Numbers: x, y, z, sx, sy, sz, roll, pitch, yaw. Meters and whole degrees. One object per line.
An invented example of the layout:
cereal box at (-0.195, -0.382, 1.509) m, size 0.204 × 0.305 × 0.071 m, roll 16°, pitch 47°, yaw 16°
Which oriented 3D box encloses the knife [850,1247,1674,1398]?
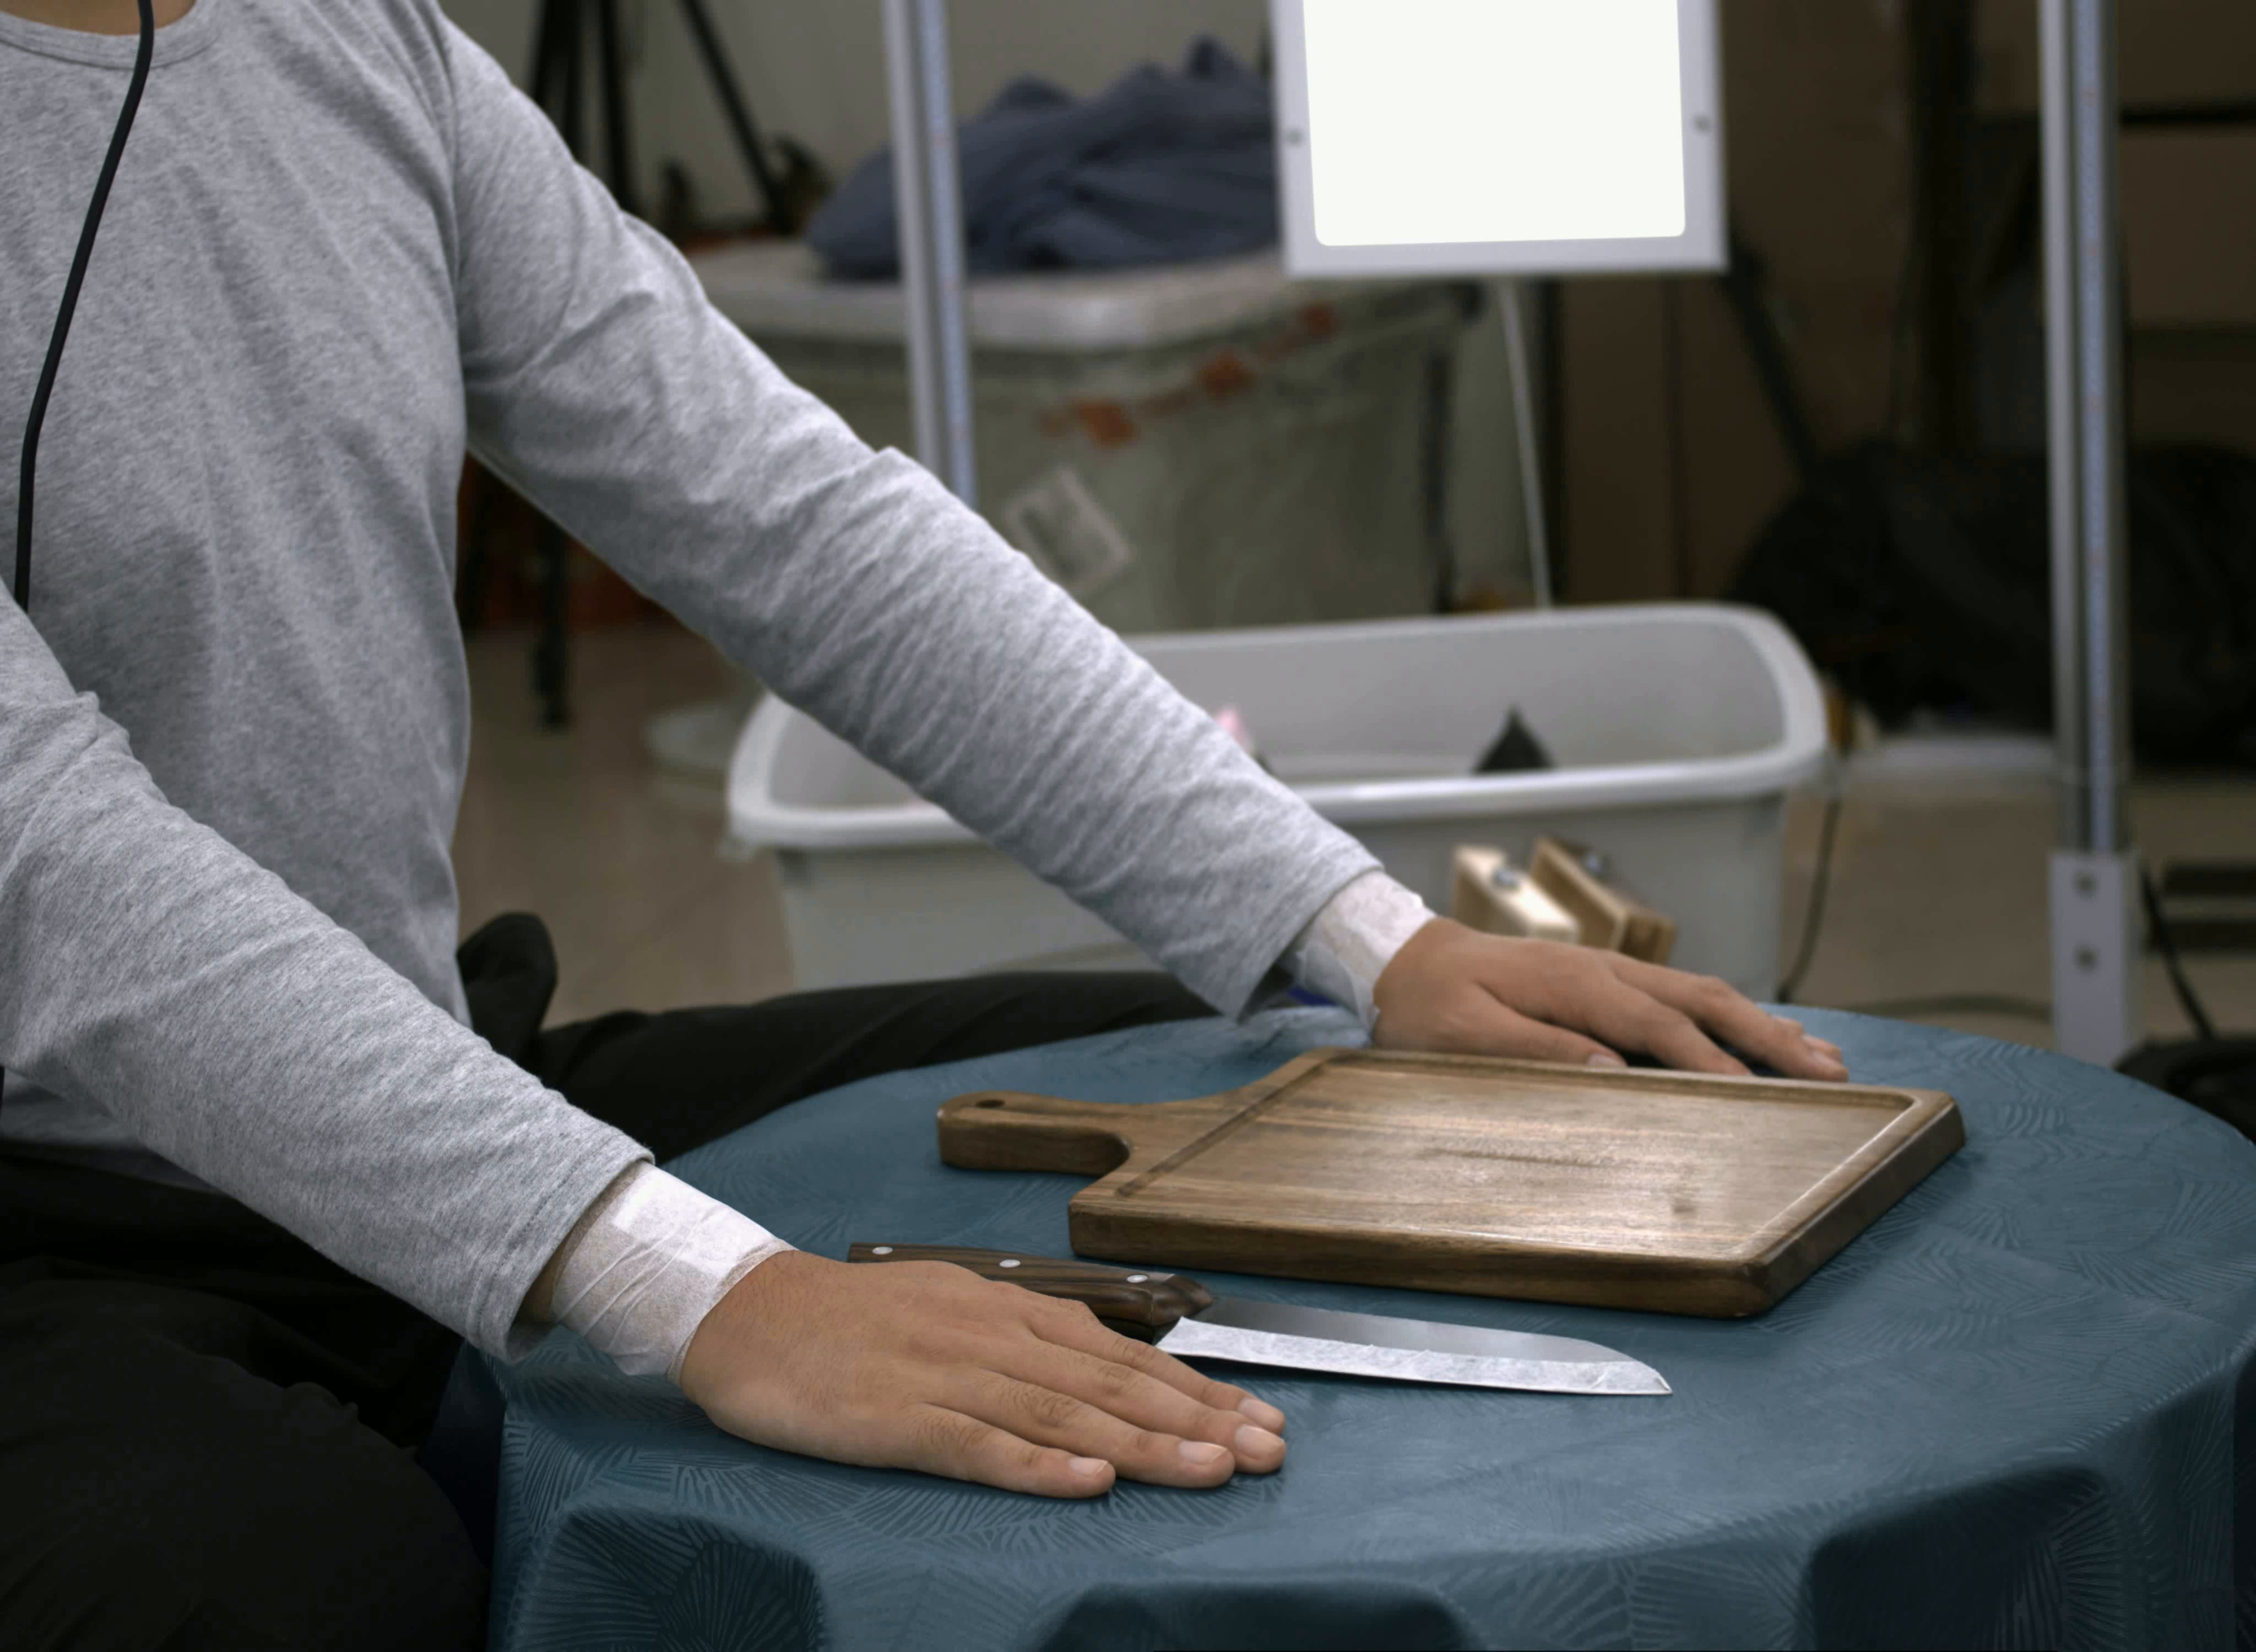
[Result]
knife at (0.037, 0.158, 1.729) m, size 0.294 × 0.020 × 0.049 m, roll 5°, pitch 22°, yaw 28°

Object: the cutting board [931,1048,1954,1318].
cutting board at (0.089, 0.114, 1.878) m, size 0.359 × 0.023 × 0.196 m, roll 3°, pitch 15°, yaw 30°
